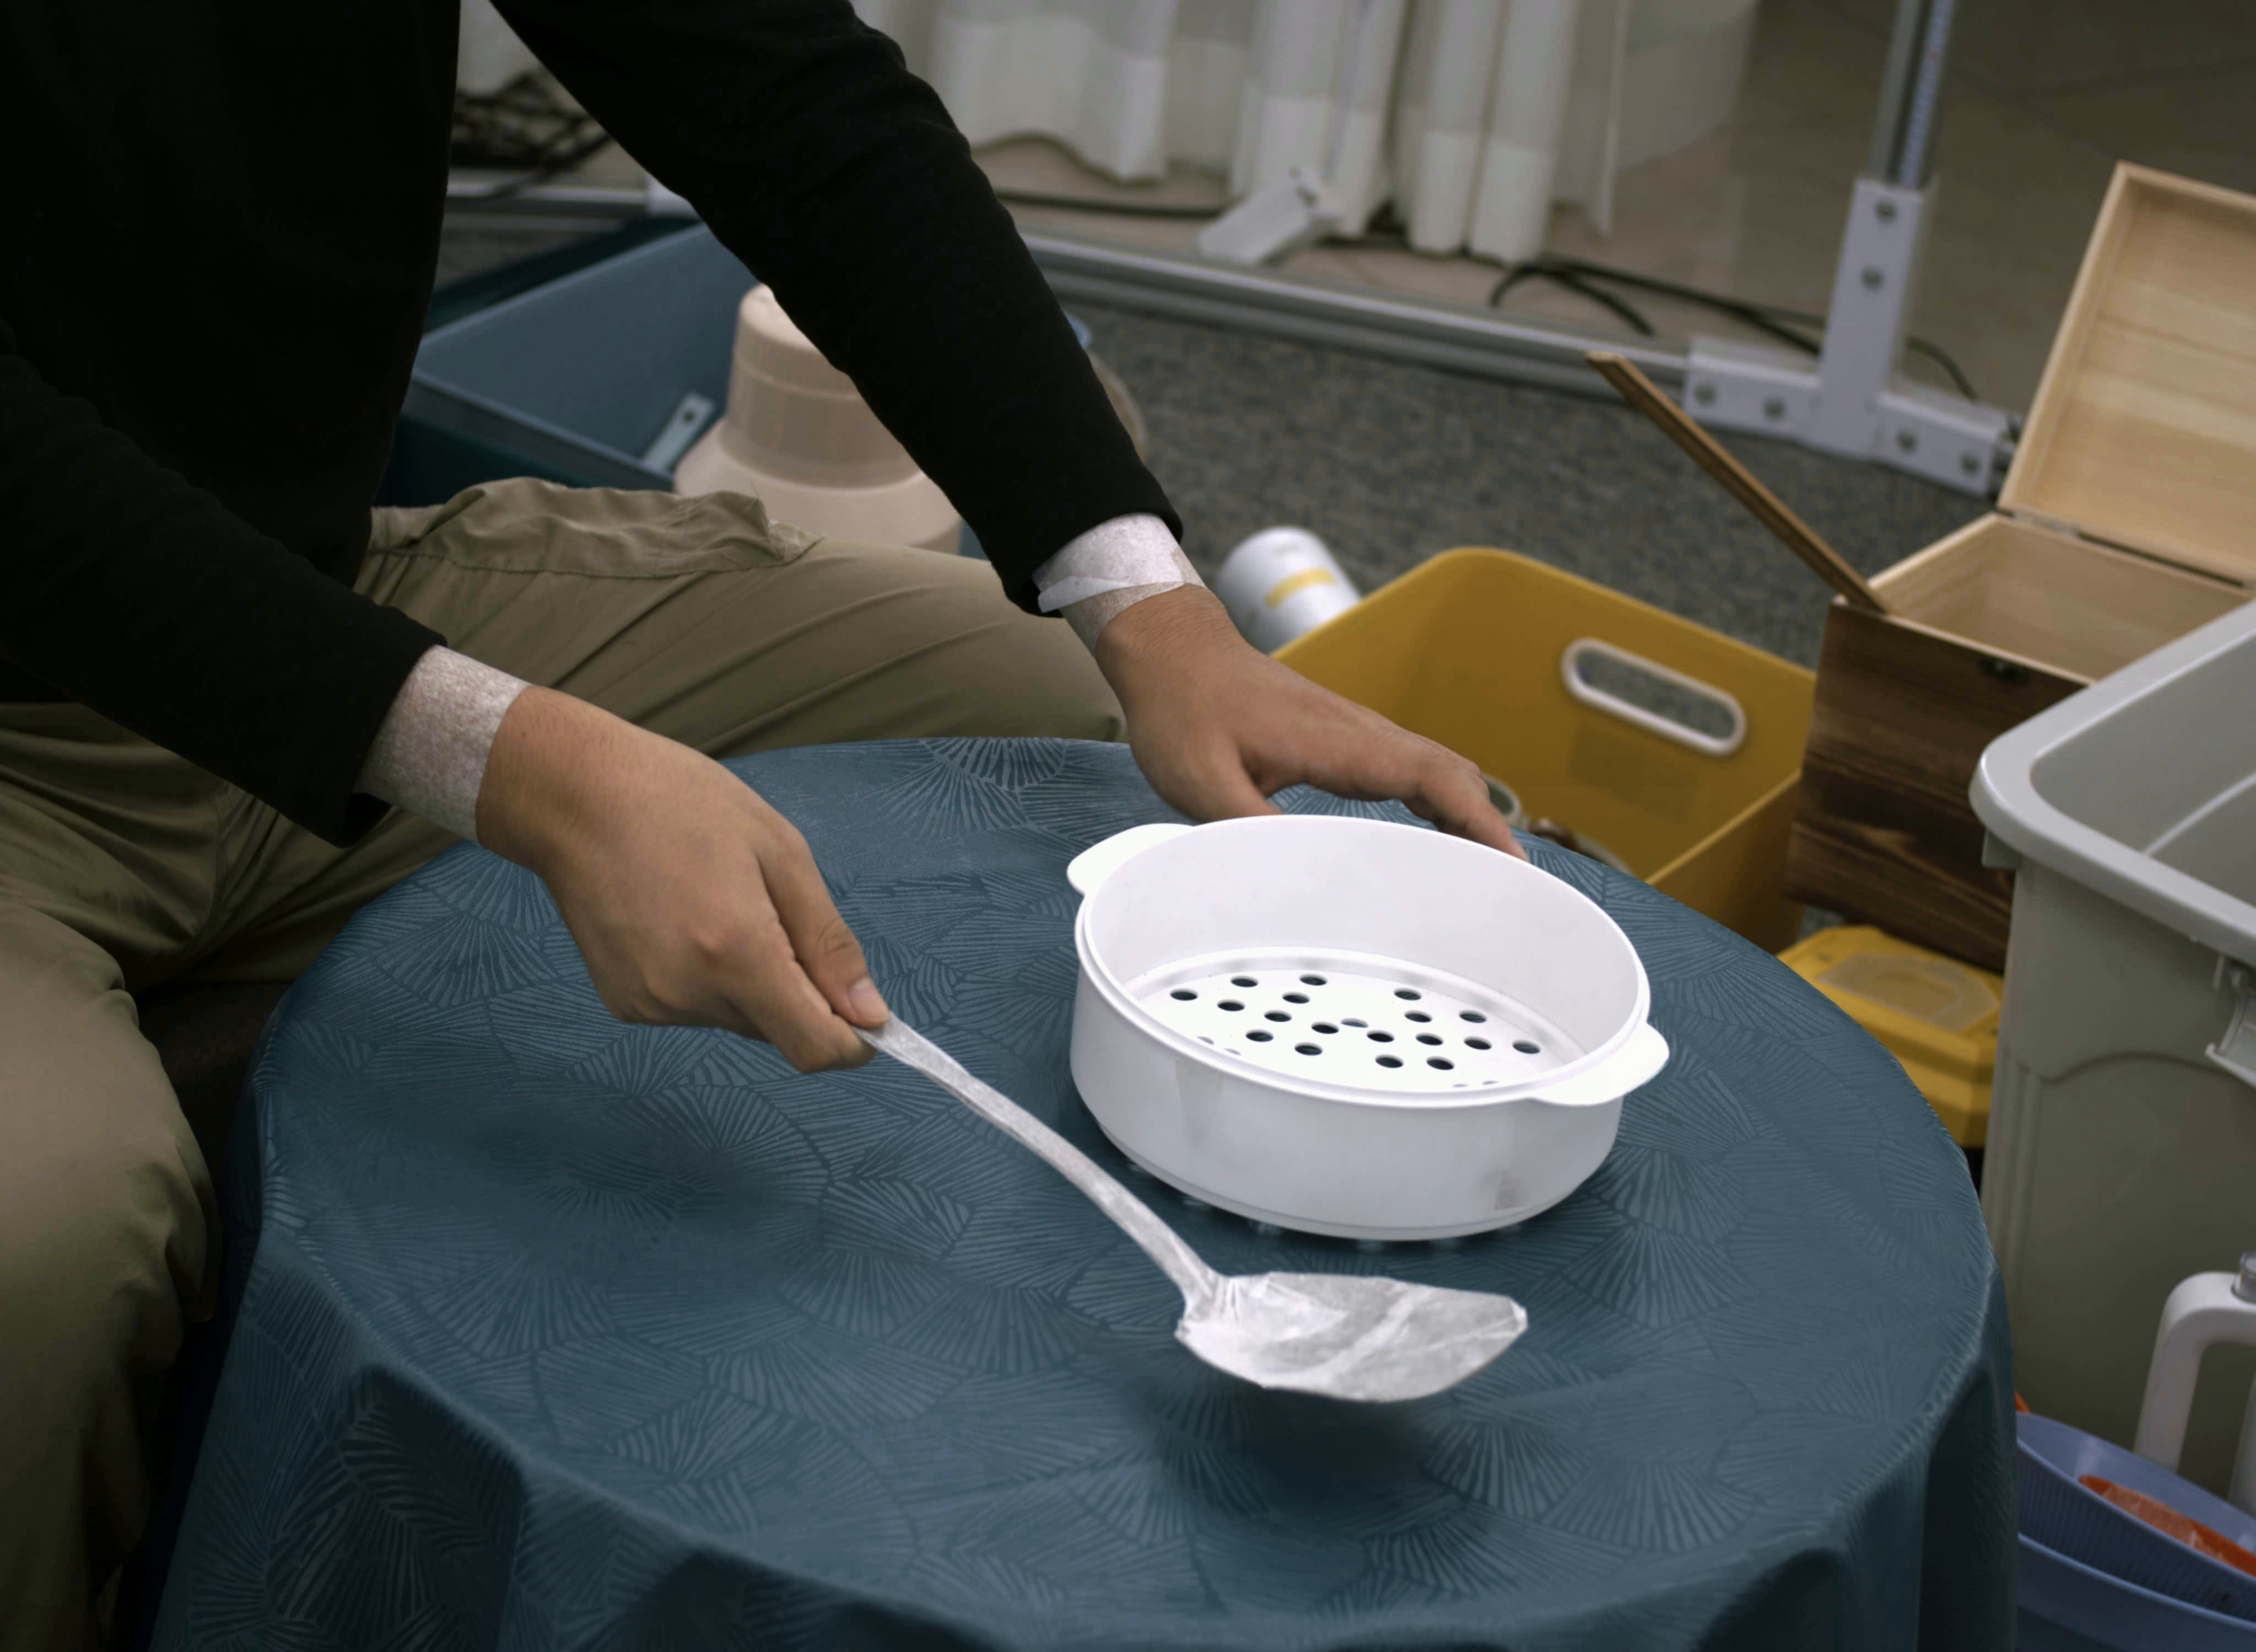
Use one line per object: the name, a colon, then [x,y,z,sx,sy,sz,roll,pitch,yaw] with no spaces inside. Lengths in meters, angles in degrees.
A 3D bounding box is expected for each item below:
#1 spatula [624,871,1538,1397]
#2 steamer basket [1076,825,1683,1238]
spatula: [-0.033,0.091,1.721,0.367,0.044,0.098,33,33,25]
steamer basket: [0.082,0.072,1.845,0.232,0.069,0.201,23,30,31]
